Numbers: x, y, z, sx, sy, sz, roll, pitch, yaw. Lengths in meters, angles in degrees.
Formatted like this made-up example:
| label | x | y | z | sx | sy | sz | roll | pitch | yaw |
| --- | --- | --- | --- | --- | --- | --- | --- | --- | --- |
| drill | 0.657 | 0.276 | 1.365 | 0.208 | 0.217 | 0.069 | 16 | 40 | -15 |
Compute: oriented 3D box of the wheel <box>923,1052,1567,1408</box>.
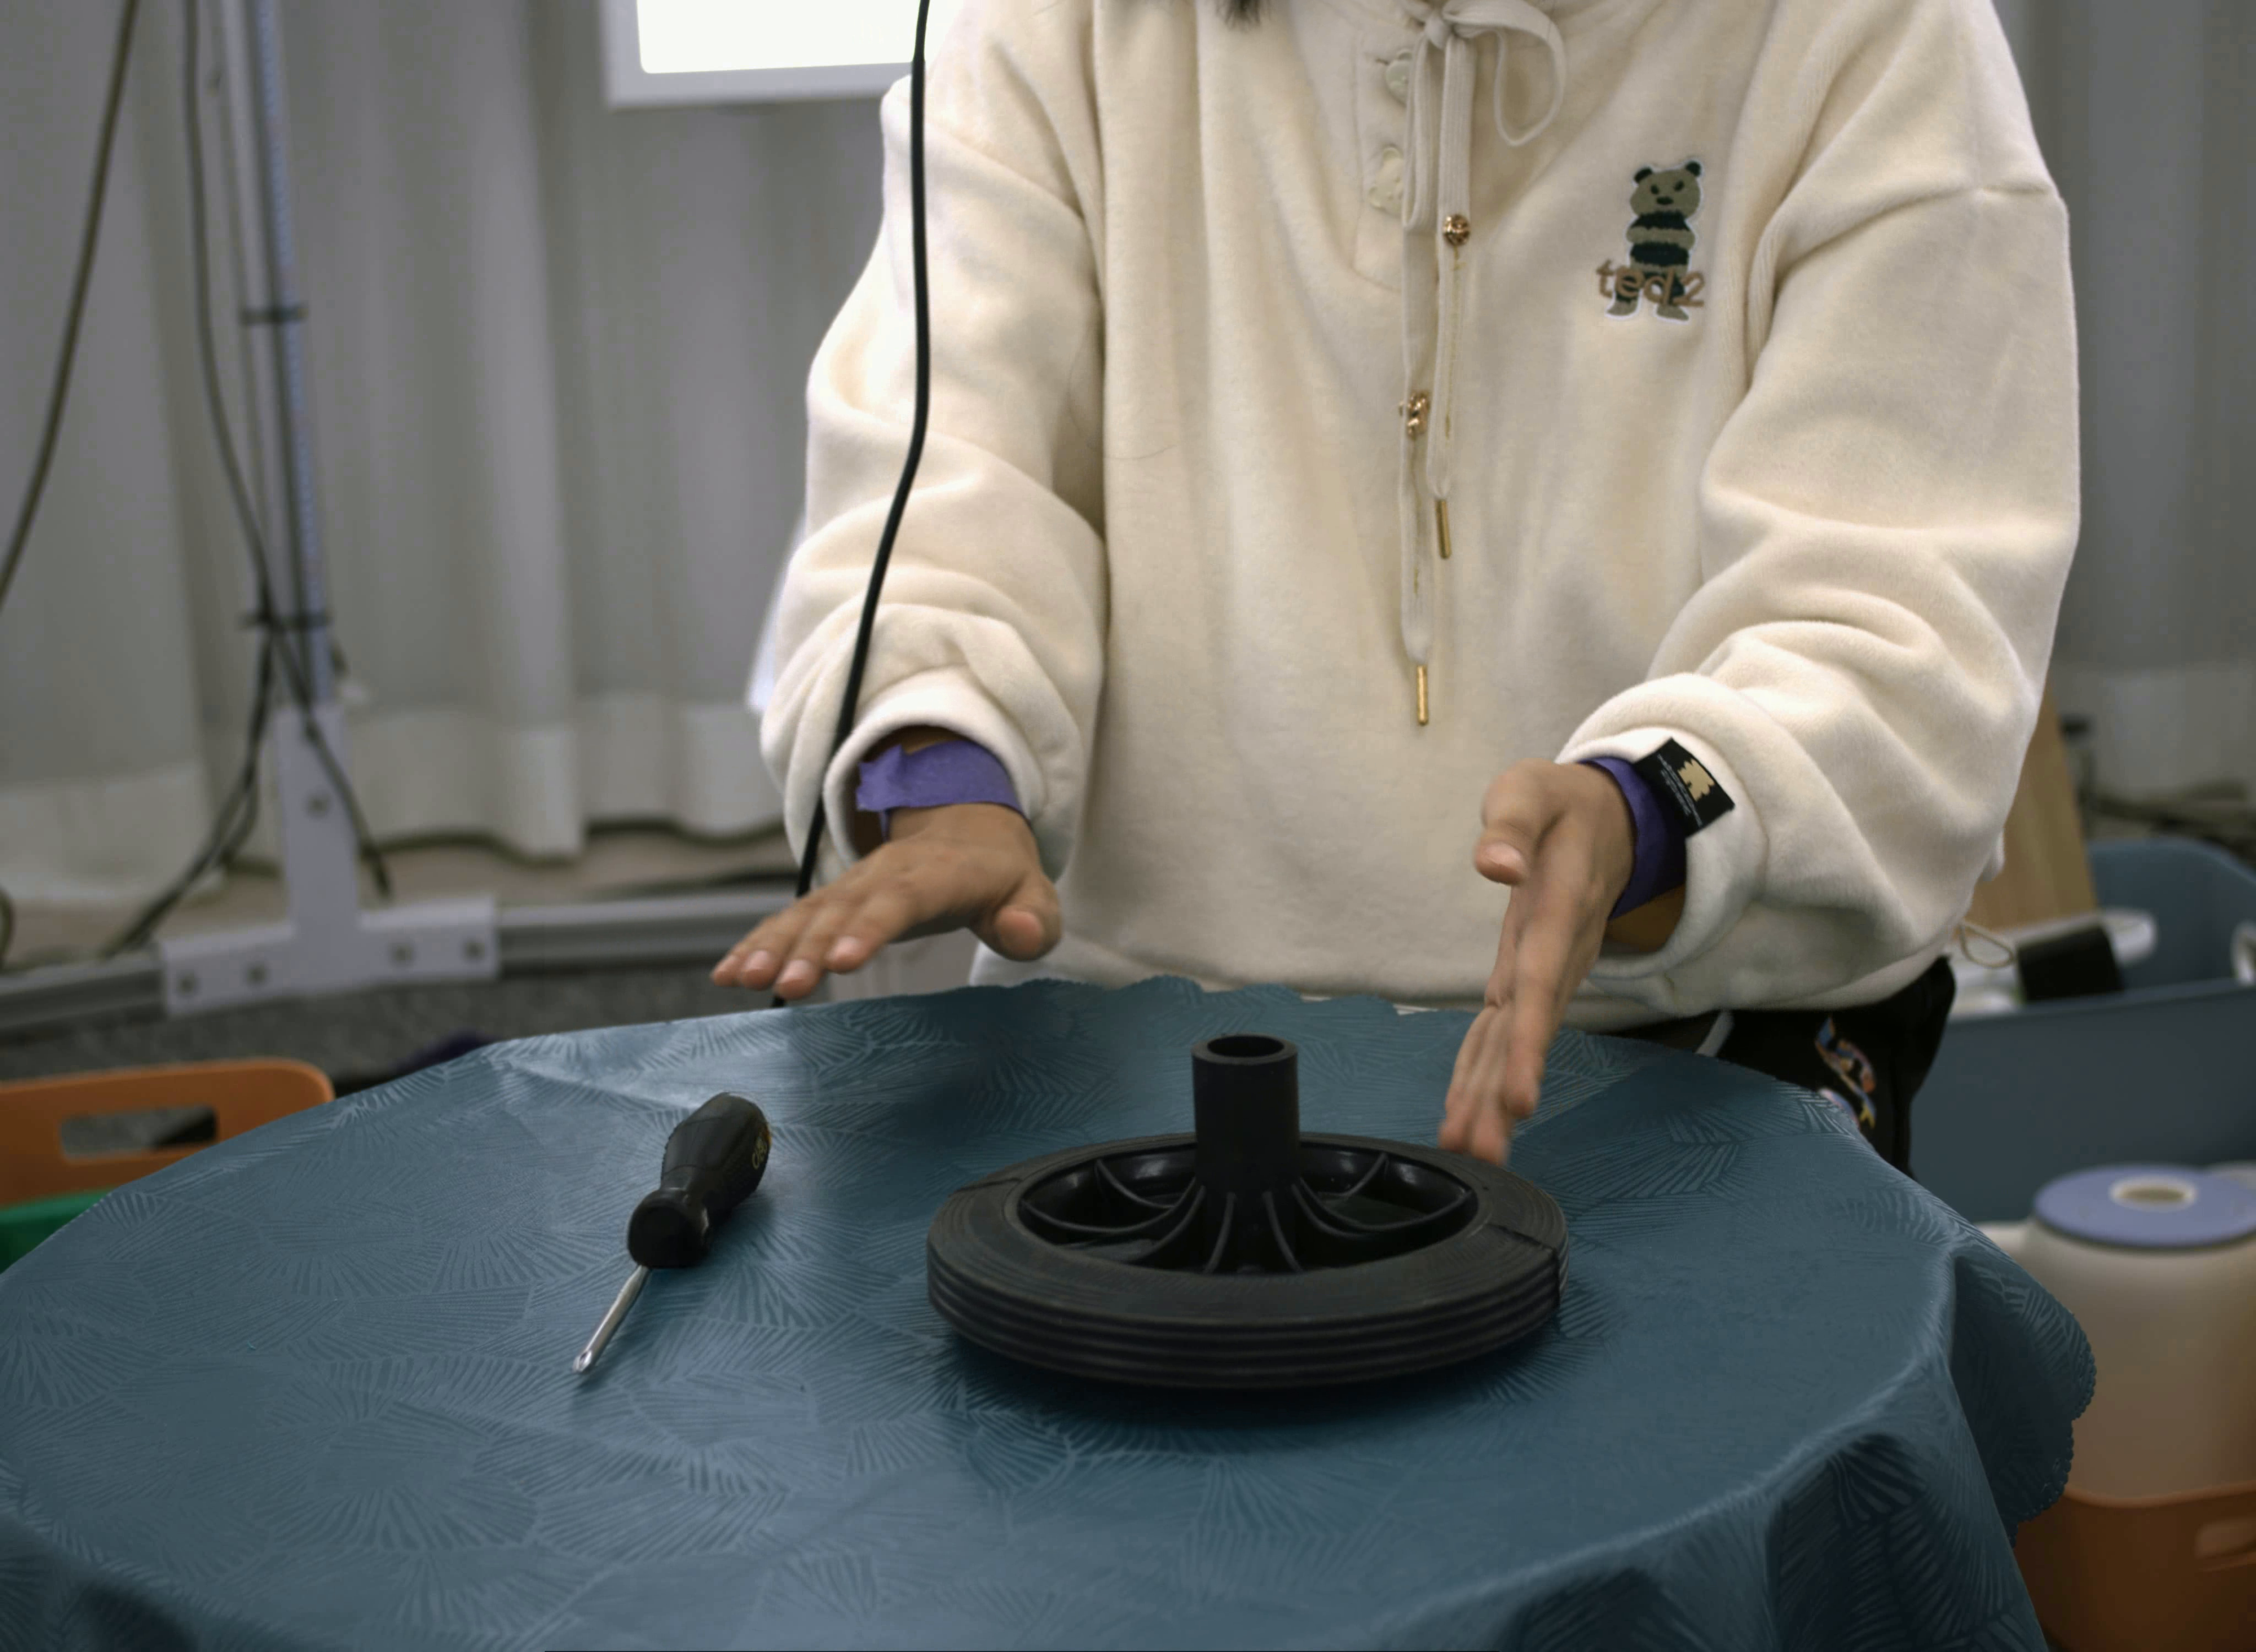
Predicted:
| label | x | y | z | sx | sy | sz | roll | pitch | yaw |
| --- | --- | --- | --- | --- | --- | --- | --- | --- | --- |
| wheel | 0.033 | 0.108 | 1.587 | 0.189 | 0.079 | 0.189 | -12 | 17 | -32 |

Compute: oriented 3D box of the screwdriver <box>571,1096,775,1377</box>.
| label | x | y | z | sx | sy | sz | roll | pitch | yaw |
| --- | --- | --- | --- | --- | --- | --- | --- | --- | --- |
| screwdriver | -0.137 | 0.125 | 1.657 | 0.031 | 0.031 | 0.197 | 0 | 17 | 8 |
